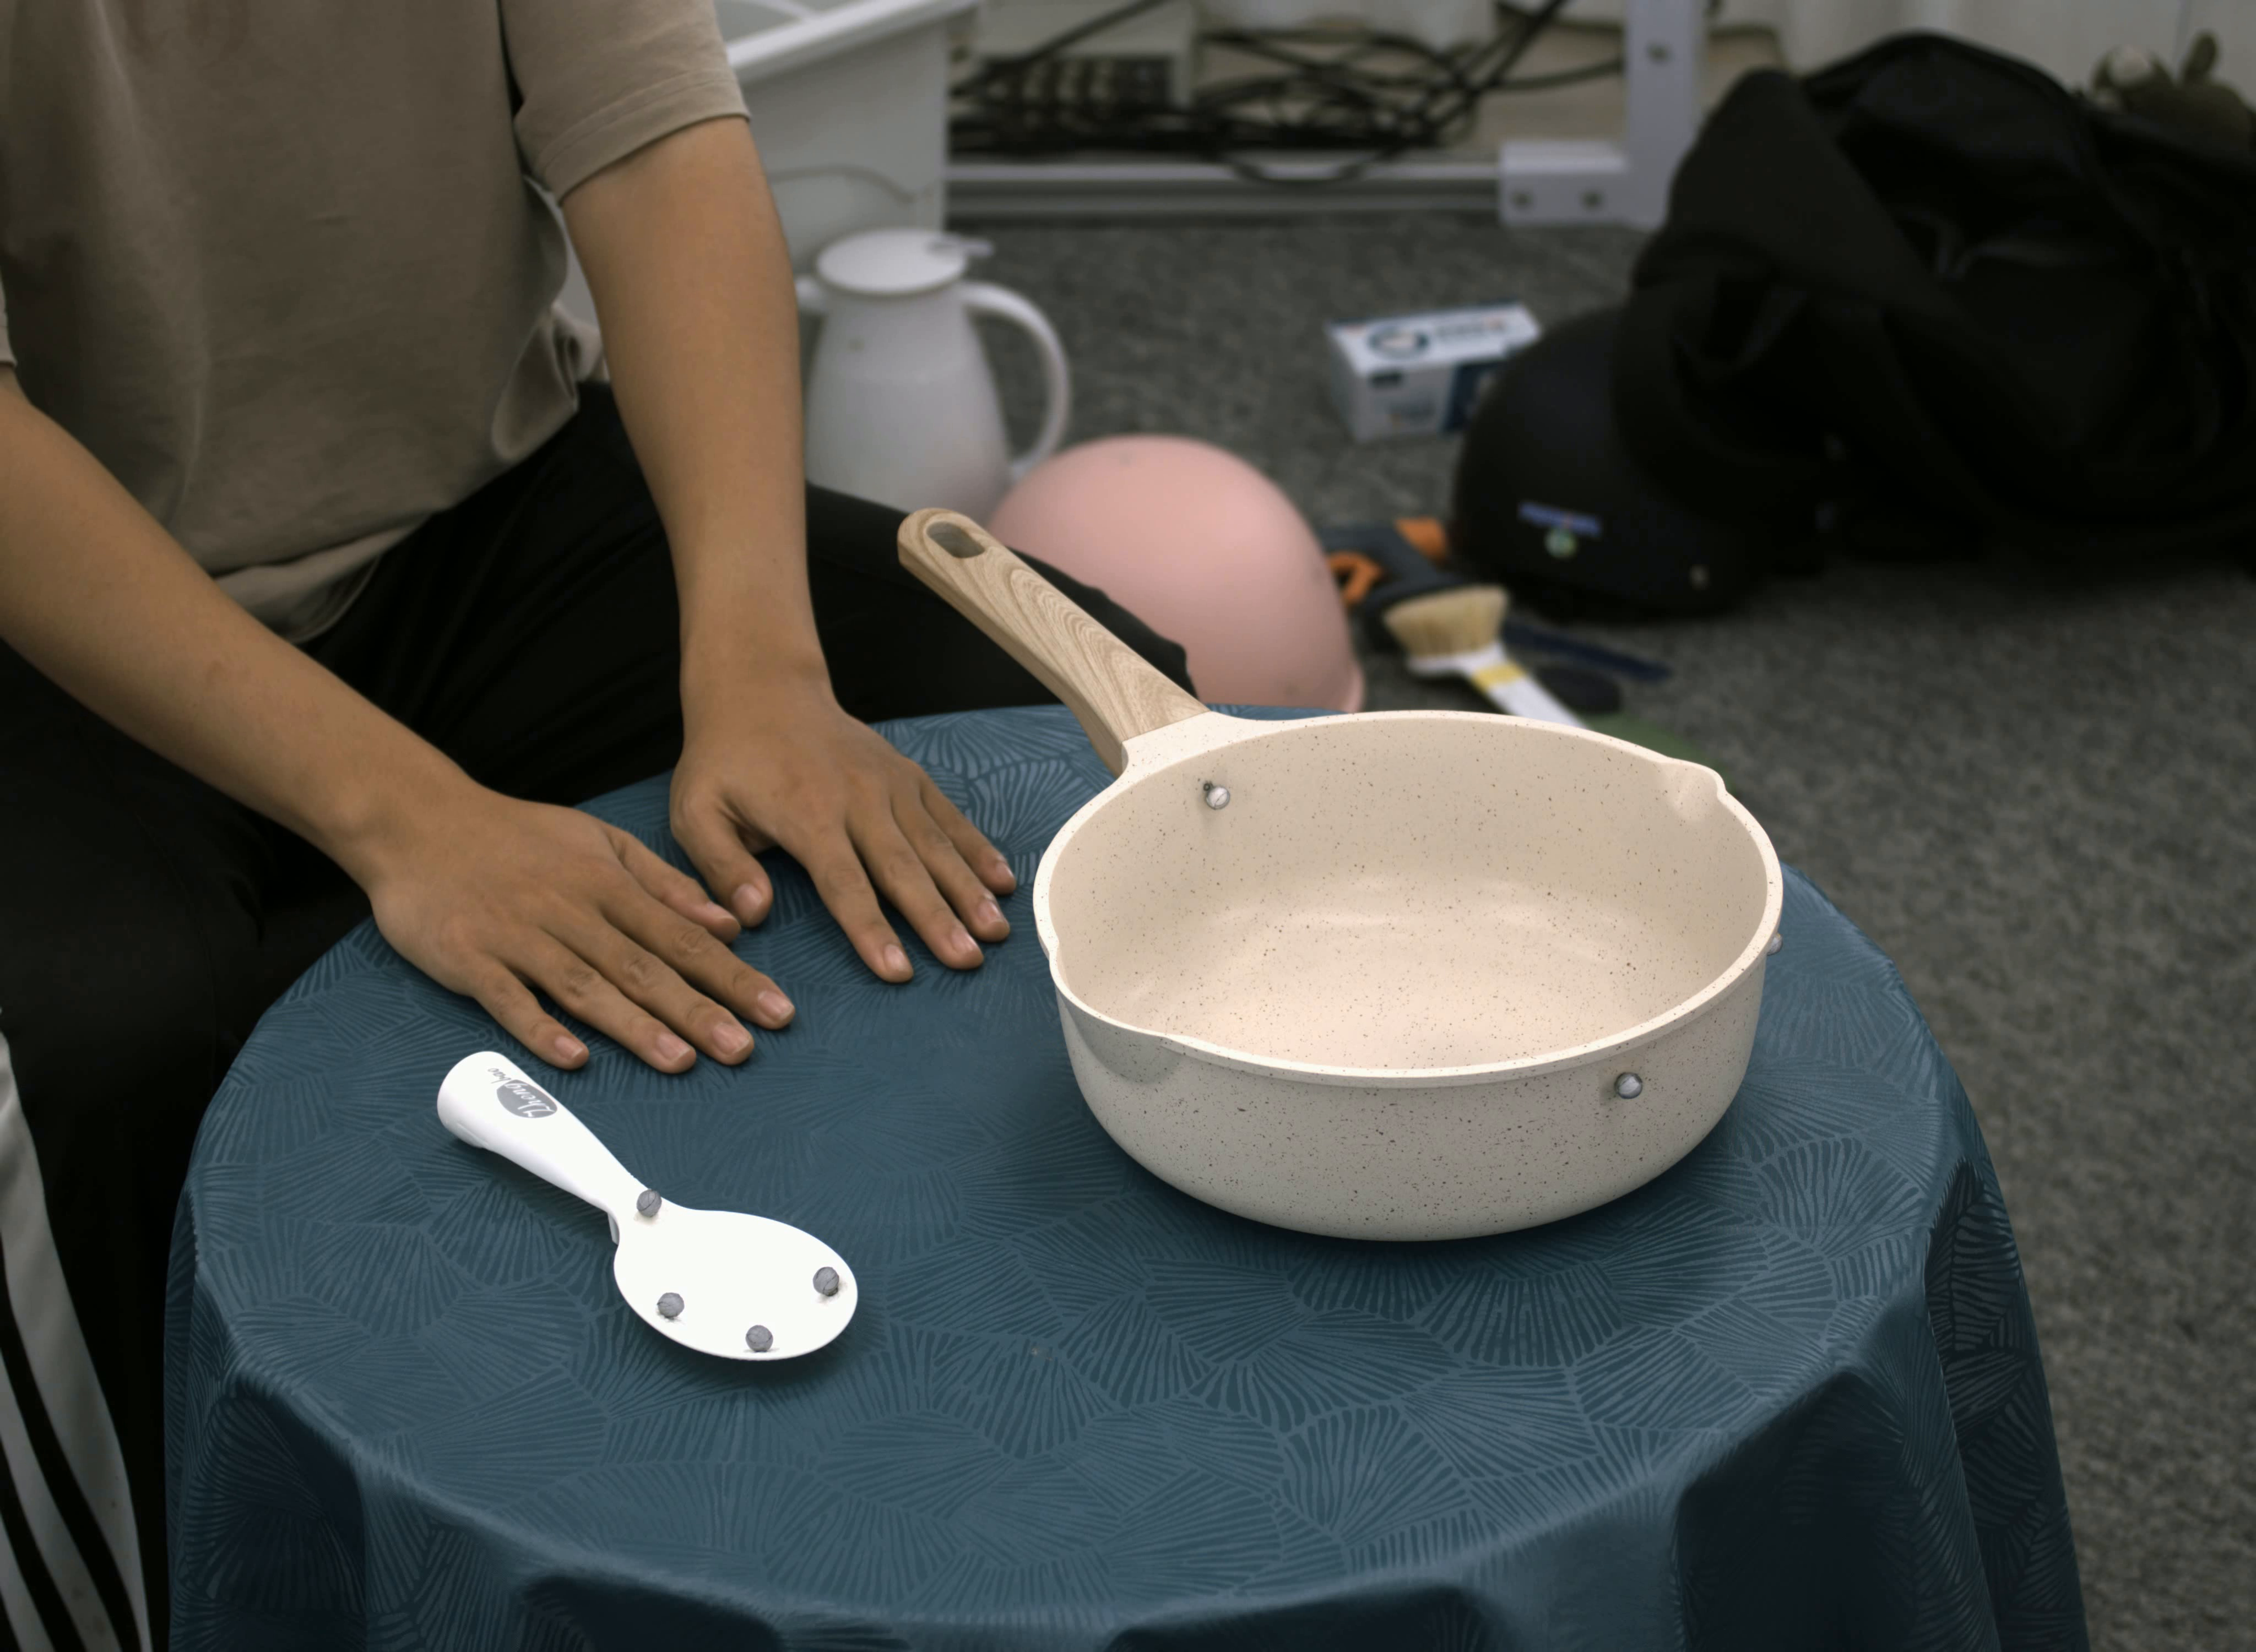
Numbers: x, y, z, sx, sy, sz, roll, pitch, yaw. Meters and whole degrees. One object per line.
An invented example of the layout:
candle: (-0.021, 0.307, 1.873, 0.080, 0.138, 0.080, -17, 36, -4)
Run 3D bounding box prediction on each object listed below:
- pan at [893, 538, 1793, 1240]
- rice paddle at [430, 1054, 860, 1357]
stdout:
pan: (0.048, 0.014, 1.965, 0.265, 0.101, 0.436, -21, 32, -28)
rice paddle: (-0.160, 0.126, 1.835, 0.069, 0.029, 0.205, -24, 34, -32)
